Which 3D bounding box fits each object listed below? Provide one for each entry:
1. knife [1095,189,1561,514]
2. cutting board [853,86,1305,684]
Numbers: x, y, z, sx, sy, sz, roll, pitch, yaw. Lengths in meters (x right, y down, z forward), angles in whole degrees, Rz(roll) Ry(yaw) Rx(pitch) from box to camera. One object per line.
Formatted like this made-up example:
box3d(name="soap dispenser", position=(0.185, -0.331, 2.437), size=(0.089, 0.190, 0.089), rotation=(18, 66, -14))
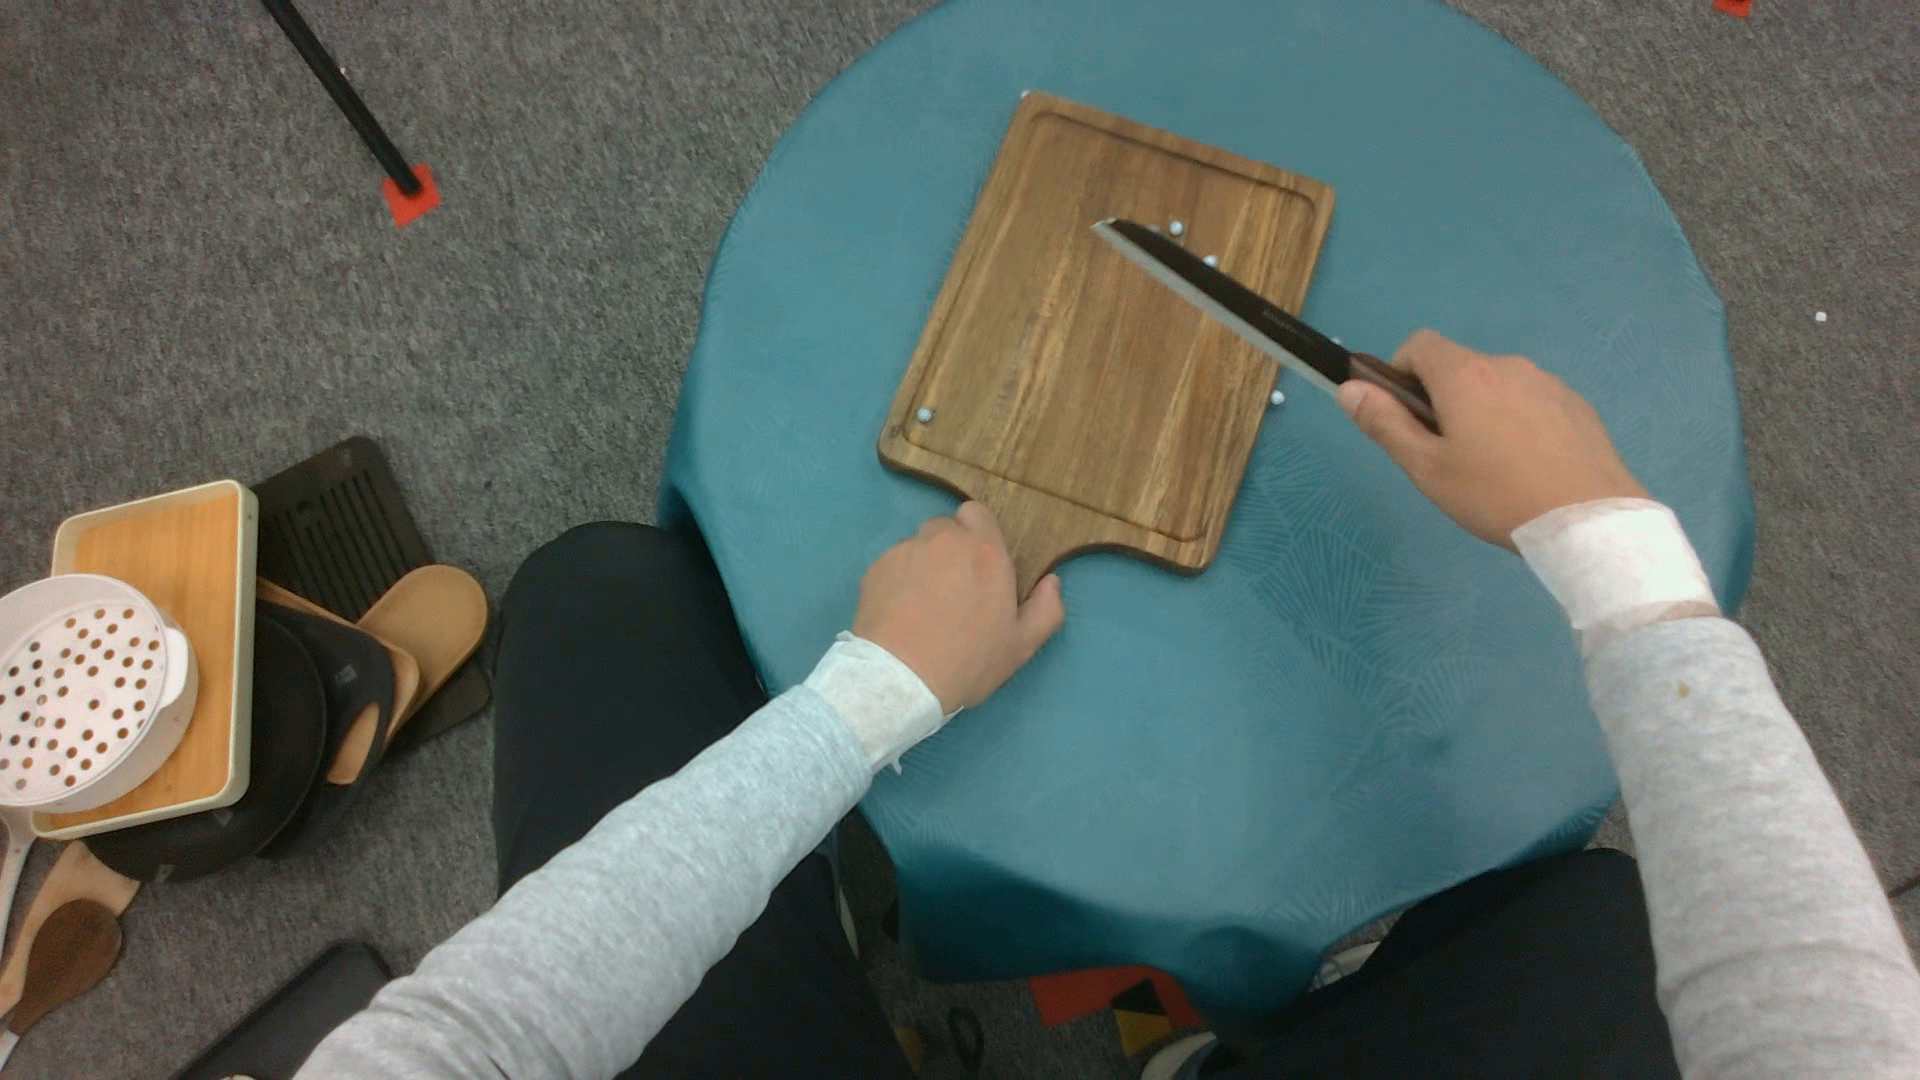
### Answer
box3d(name="knife", position=(0.175, -0.103, 0.698), size=(0.289, 0.050, 0.020), rotation=(41, 76, 23))
box3d(name="cutting board", position=(0.055, -0.086, 0.774), size=(0.201, 0.023, 0.353), rotation=(19, 73, 5))
